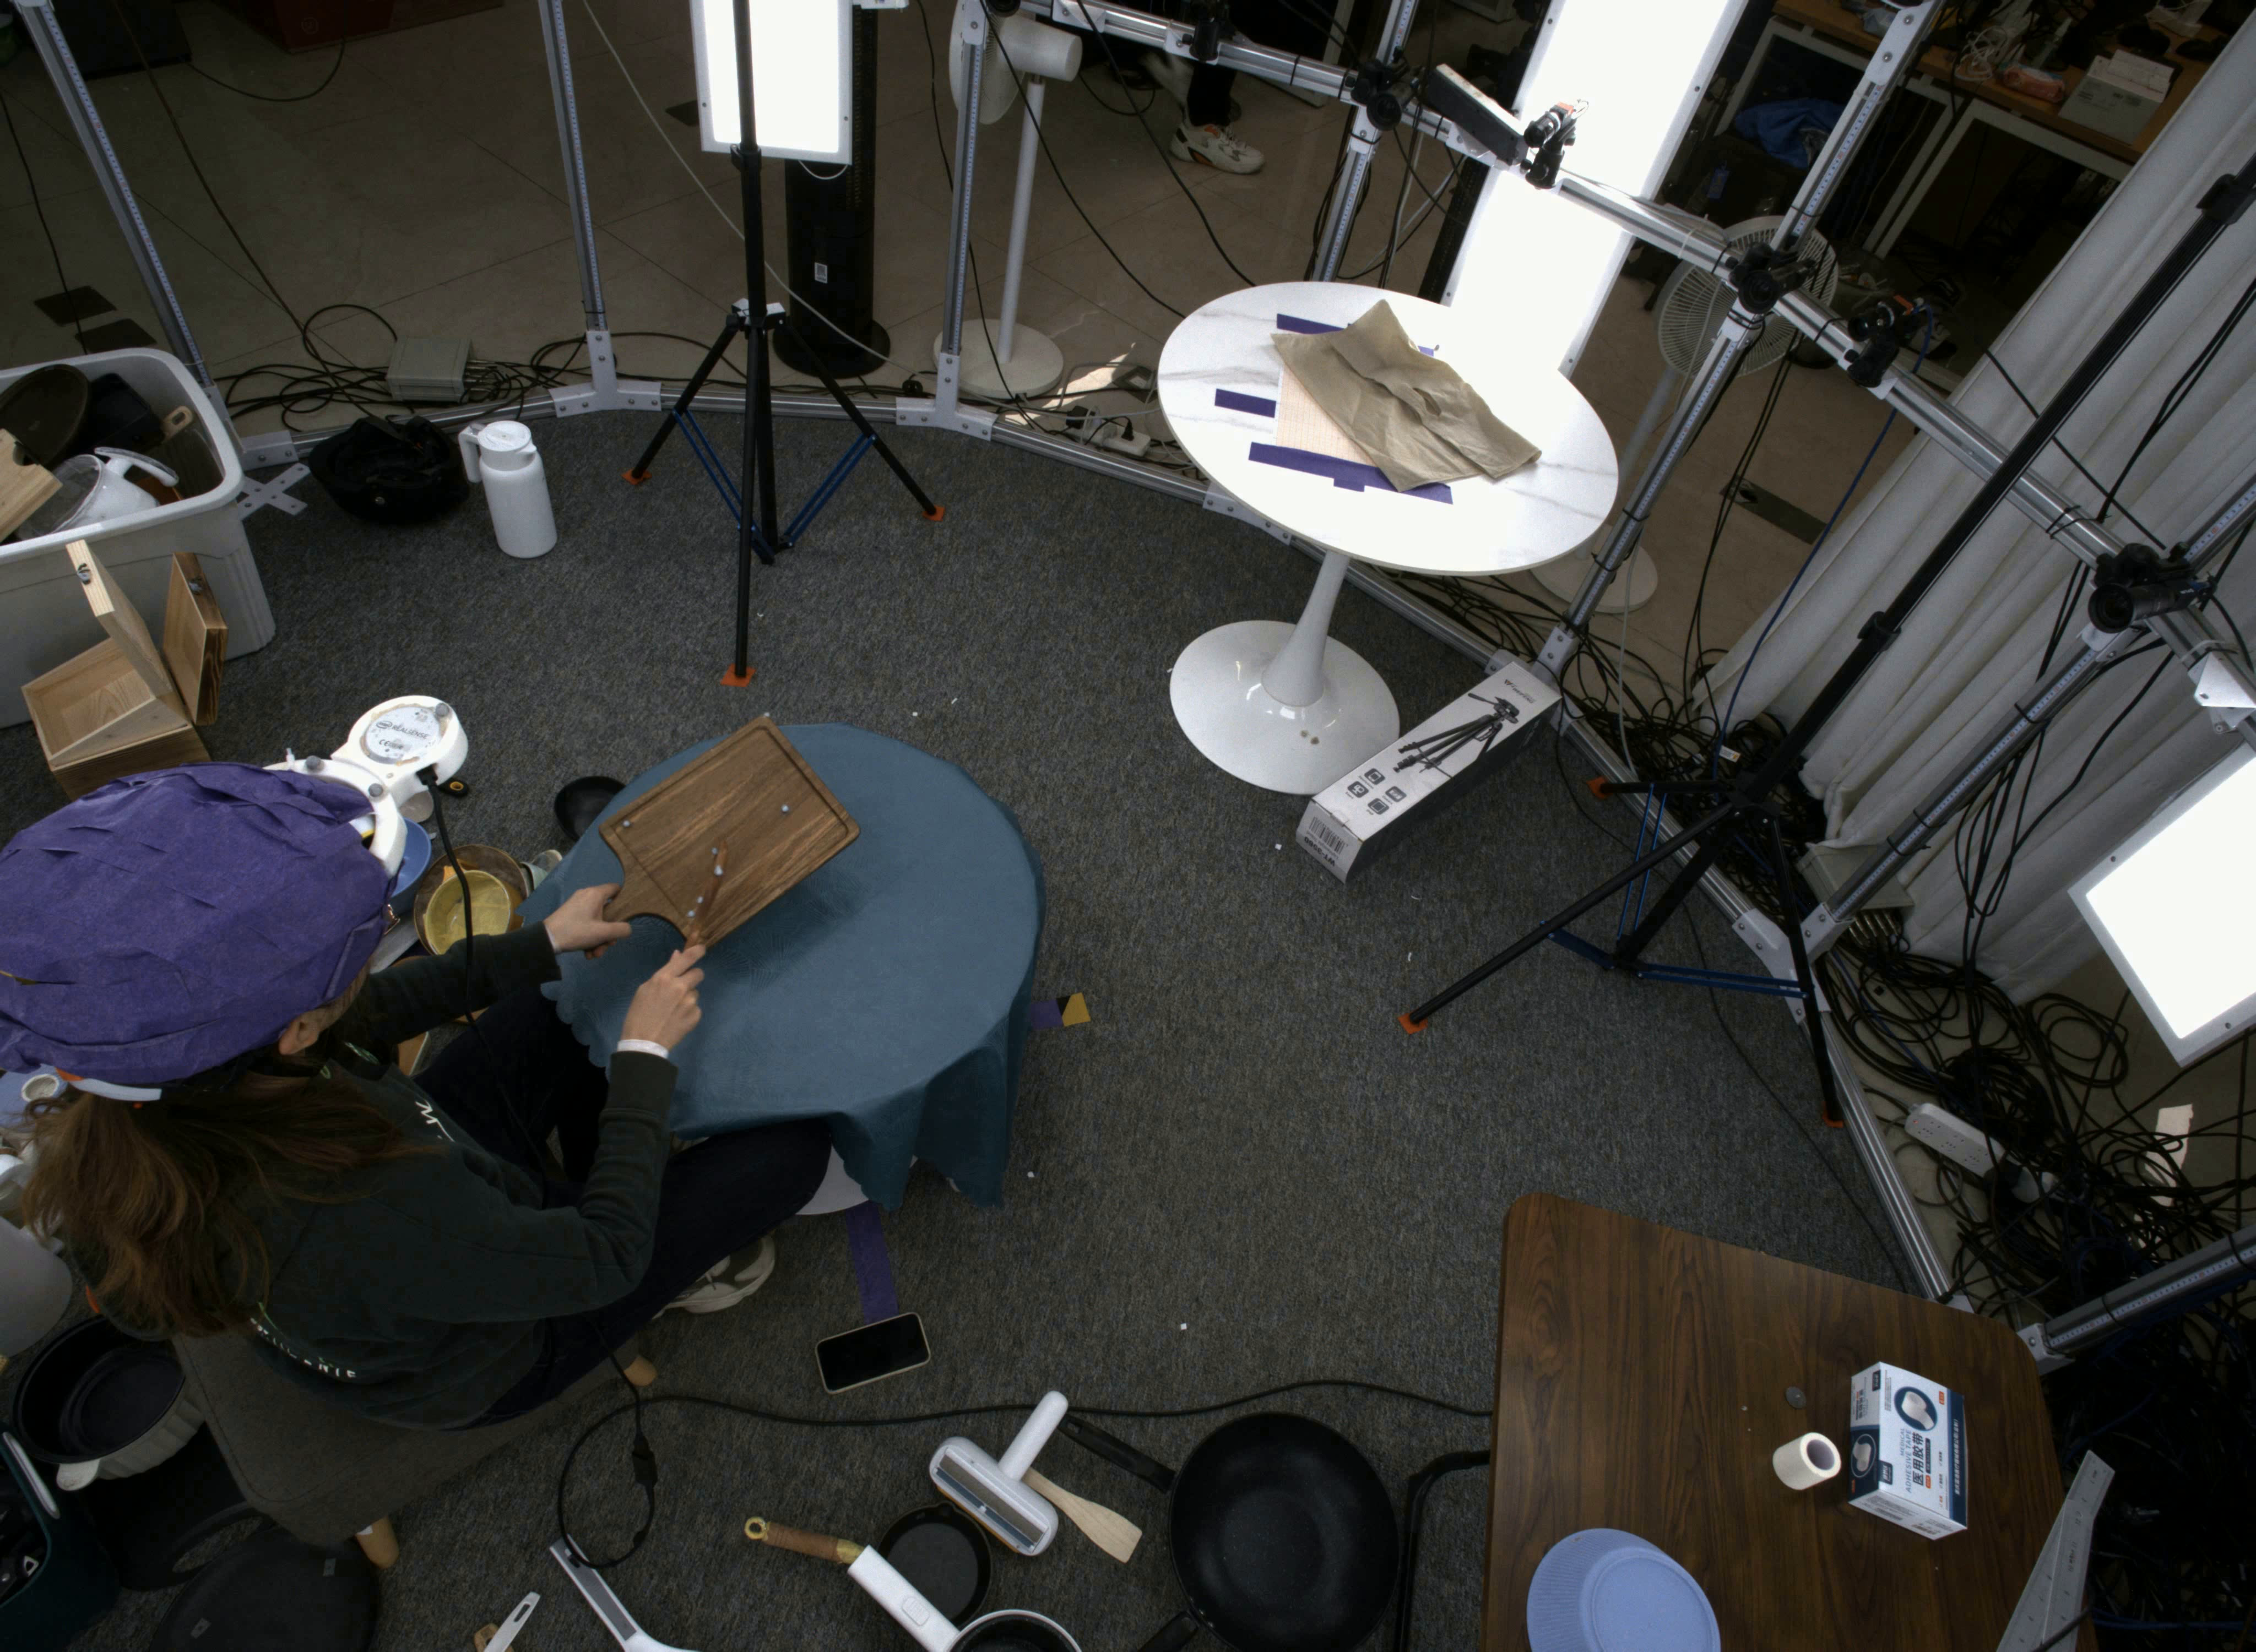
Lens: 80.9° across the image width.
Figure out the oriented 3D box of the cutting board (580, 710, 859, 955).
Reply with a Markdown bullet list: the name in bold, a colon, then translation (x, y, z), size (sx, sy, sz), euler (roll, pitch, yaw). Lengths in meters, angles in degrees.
- **cutting board**: translation (-0.515, 0.031, 1.547), size (0.352, 0.023, 0.202), euler (-41, 95, -26)

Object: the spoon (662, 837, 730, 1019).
- **spoon**: translation (-0.480, 0.110, 1.440), size (0.017, 0.074, 0.214), euler (23, 60, -23)
